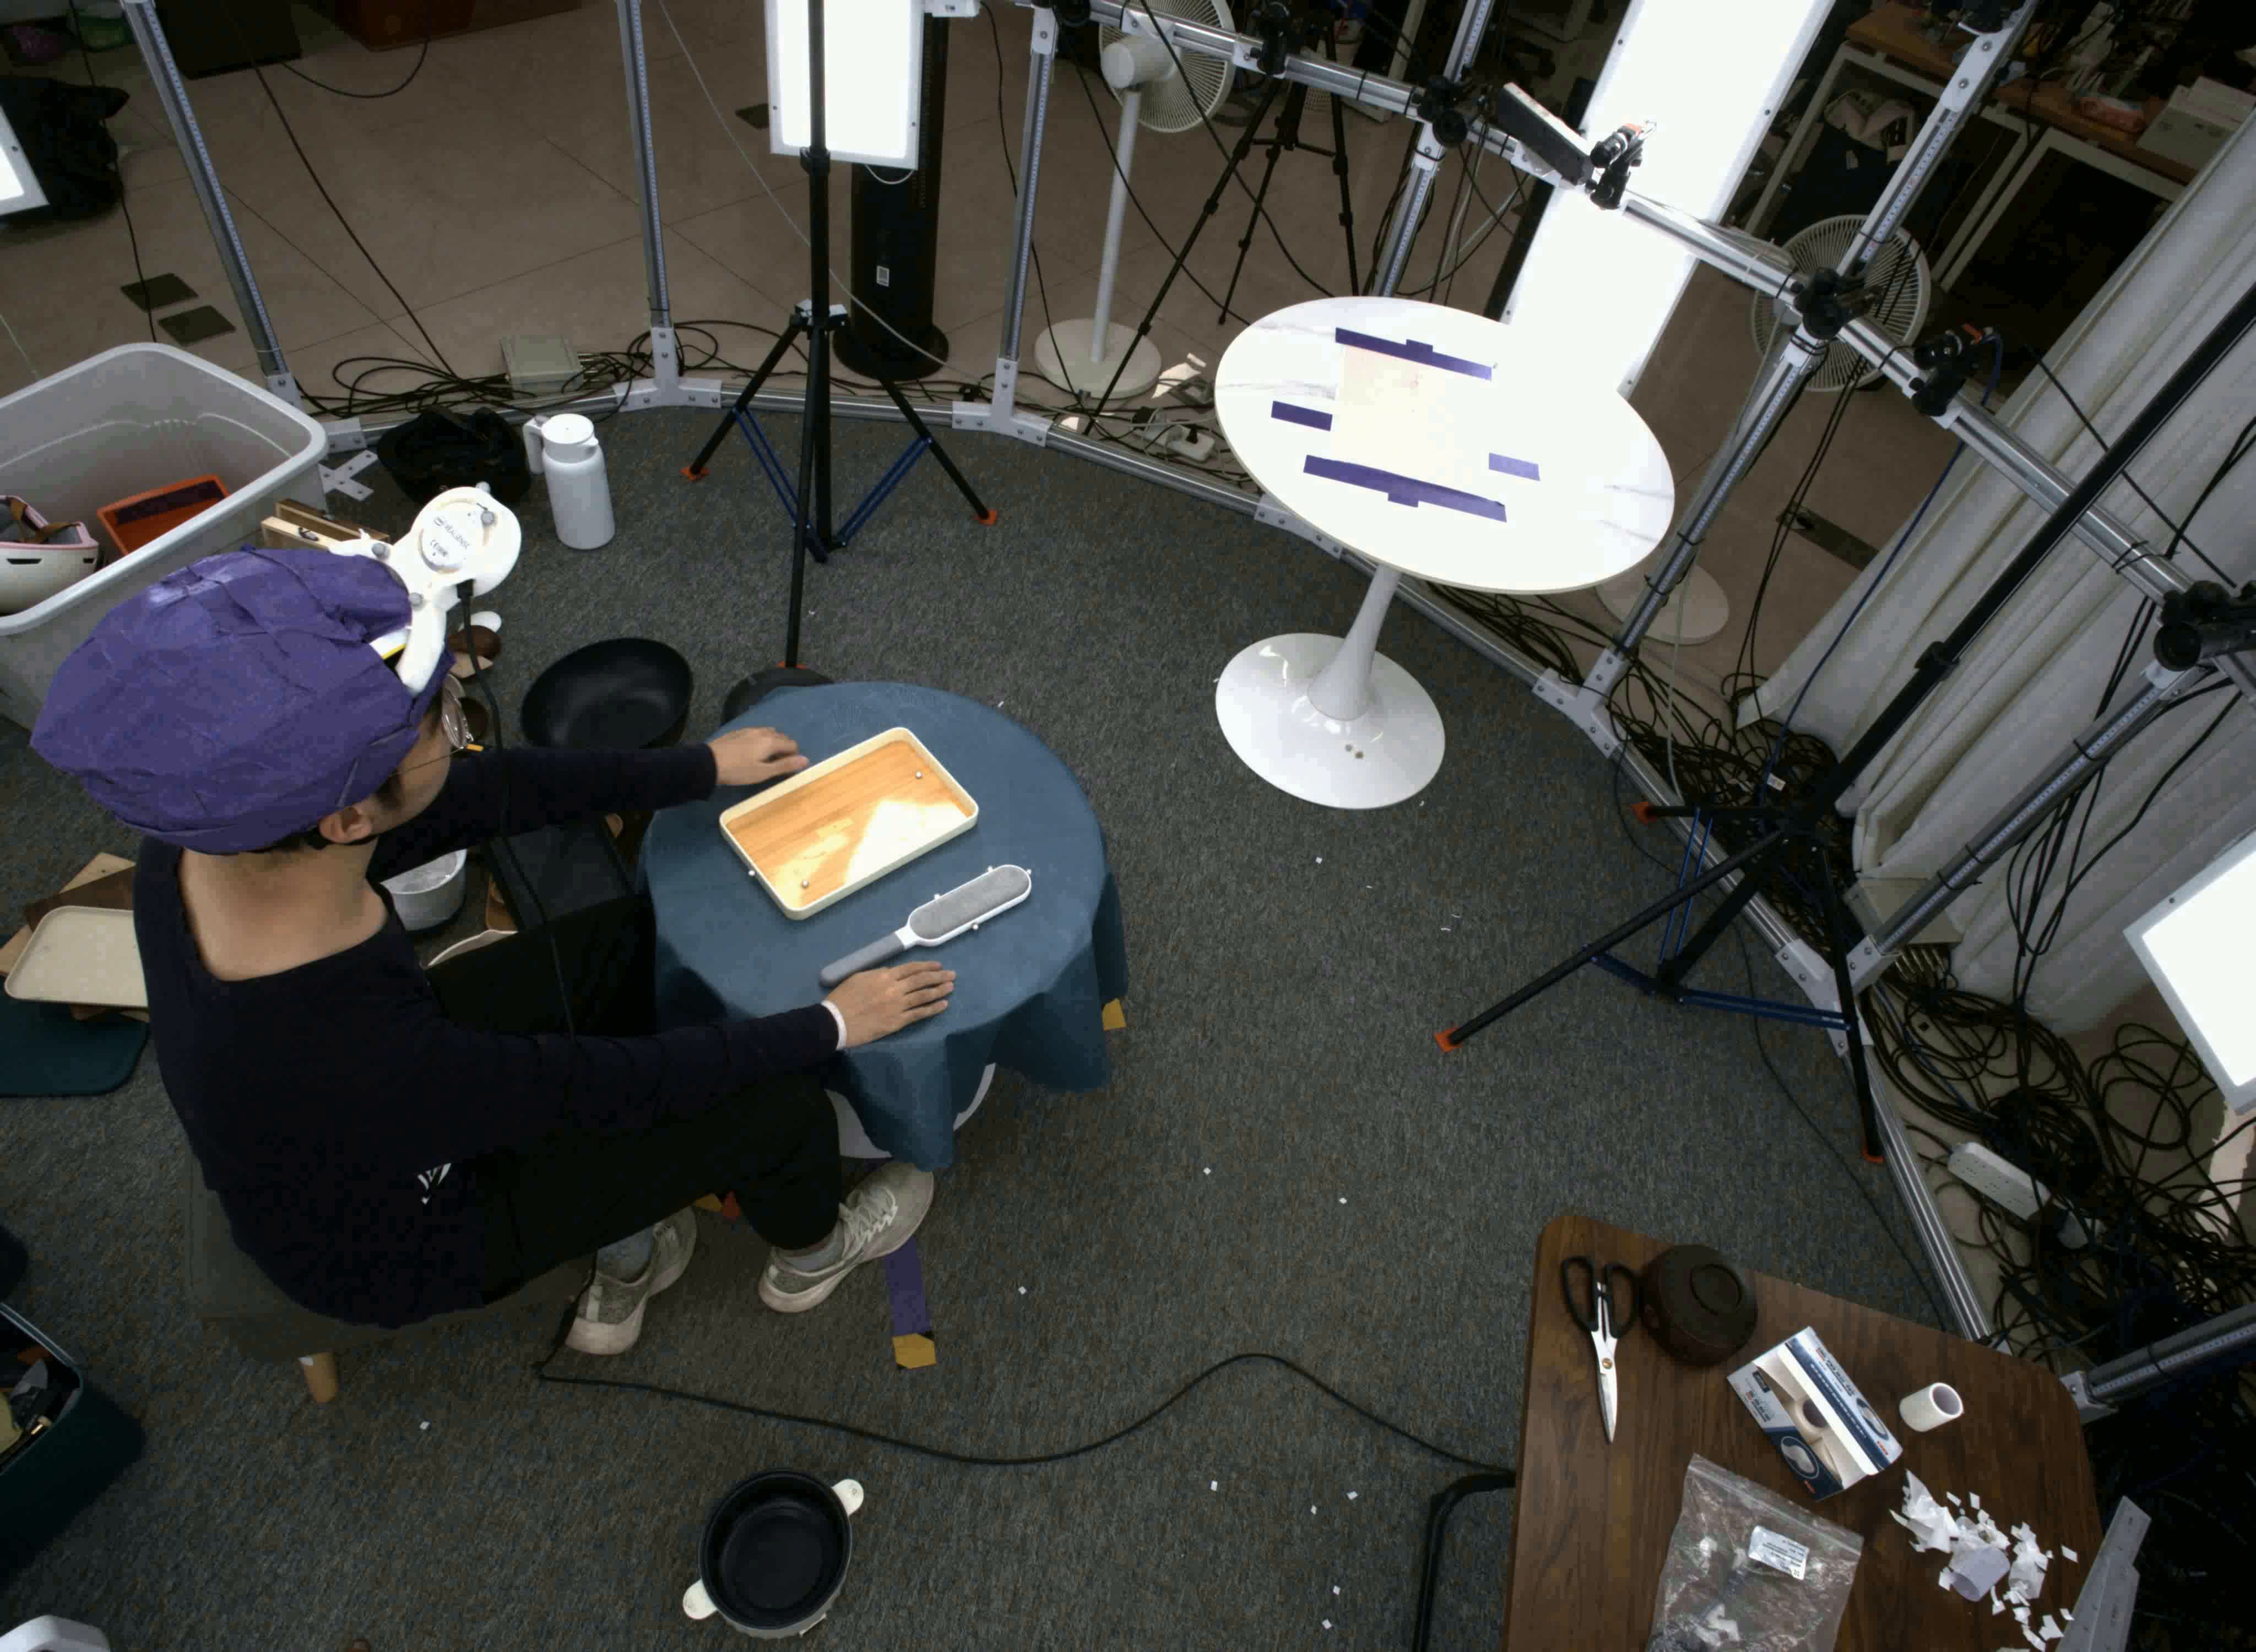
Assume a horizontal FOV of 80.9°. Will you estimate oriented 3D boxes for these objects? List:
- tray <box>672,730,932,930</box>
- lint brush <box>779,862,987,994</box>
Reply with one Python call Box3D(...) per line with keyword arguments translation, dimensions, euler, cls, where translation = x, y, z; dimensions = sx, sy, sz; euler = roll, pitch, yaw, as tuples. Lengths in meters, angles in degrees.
Box3D(translation=(-0.429, -0.002, 1.719), dimensions=(0.301, 0.028, 0.187), euler=(-34, 67, -31), cls="tray")
Box3D(translation=(-0.308, 0.126, 1.654), dimensions=(0.310, 0.021, 0.059), euler=(-30, 72, -31), cls="lint brush")
